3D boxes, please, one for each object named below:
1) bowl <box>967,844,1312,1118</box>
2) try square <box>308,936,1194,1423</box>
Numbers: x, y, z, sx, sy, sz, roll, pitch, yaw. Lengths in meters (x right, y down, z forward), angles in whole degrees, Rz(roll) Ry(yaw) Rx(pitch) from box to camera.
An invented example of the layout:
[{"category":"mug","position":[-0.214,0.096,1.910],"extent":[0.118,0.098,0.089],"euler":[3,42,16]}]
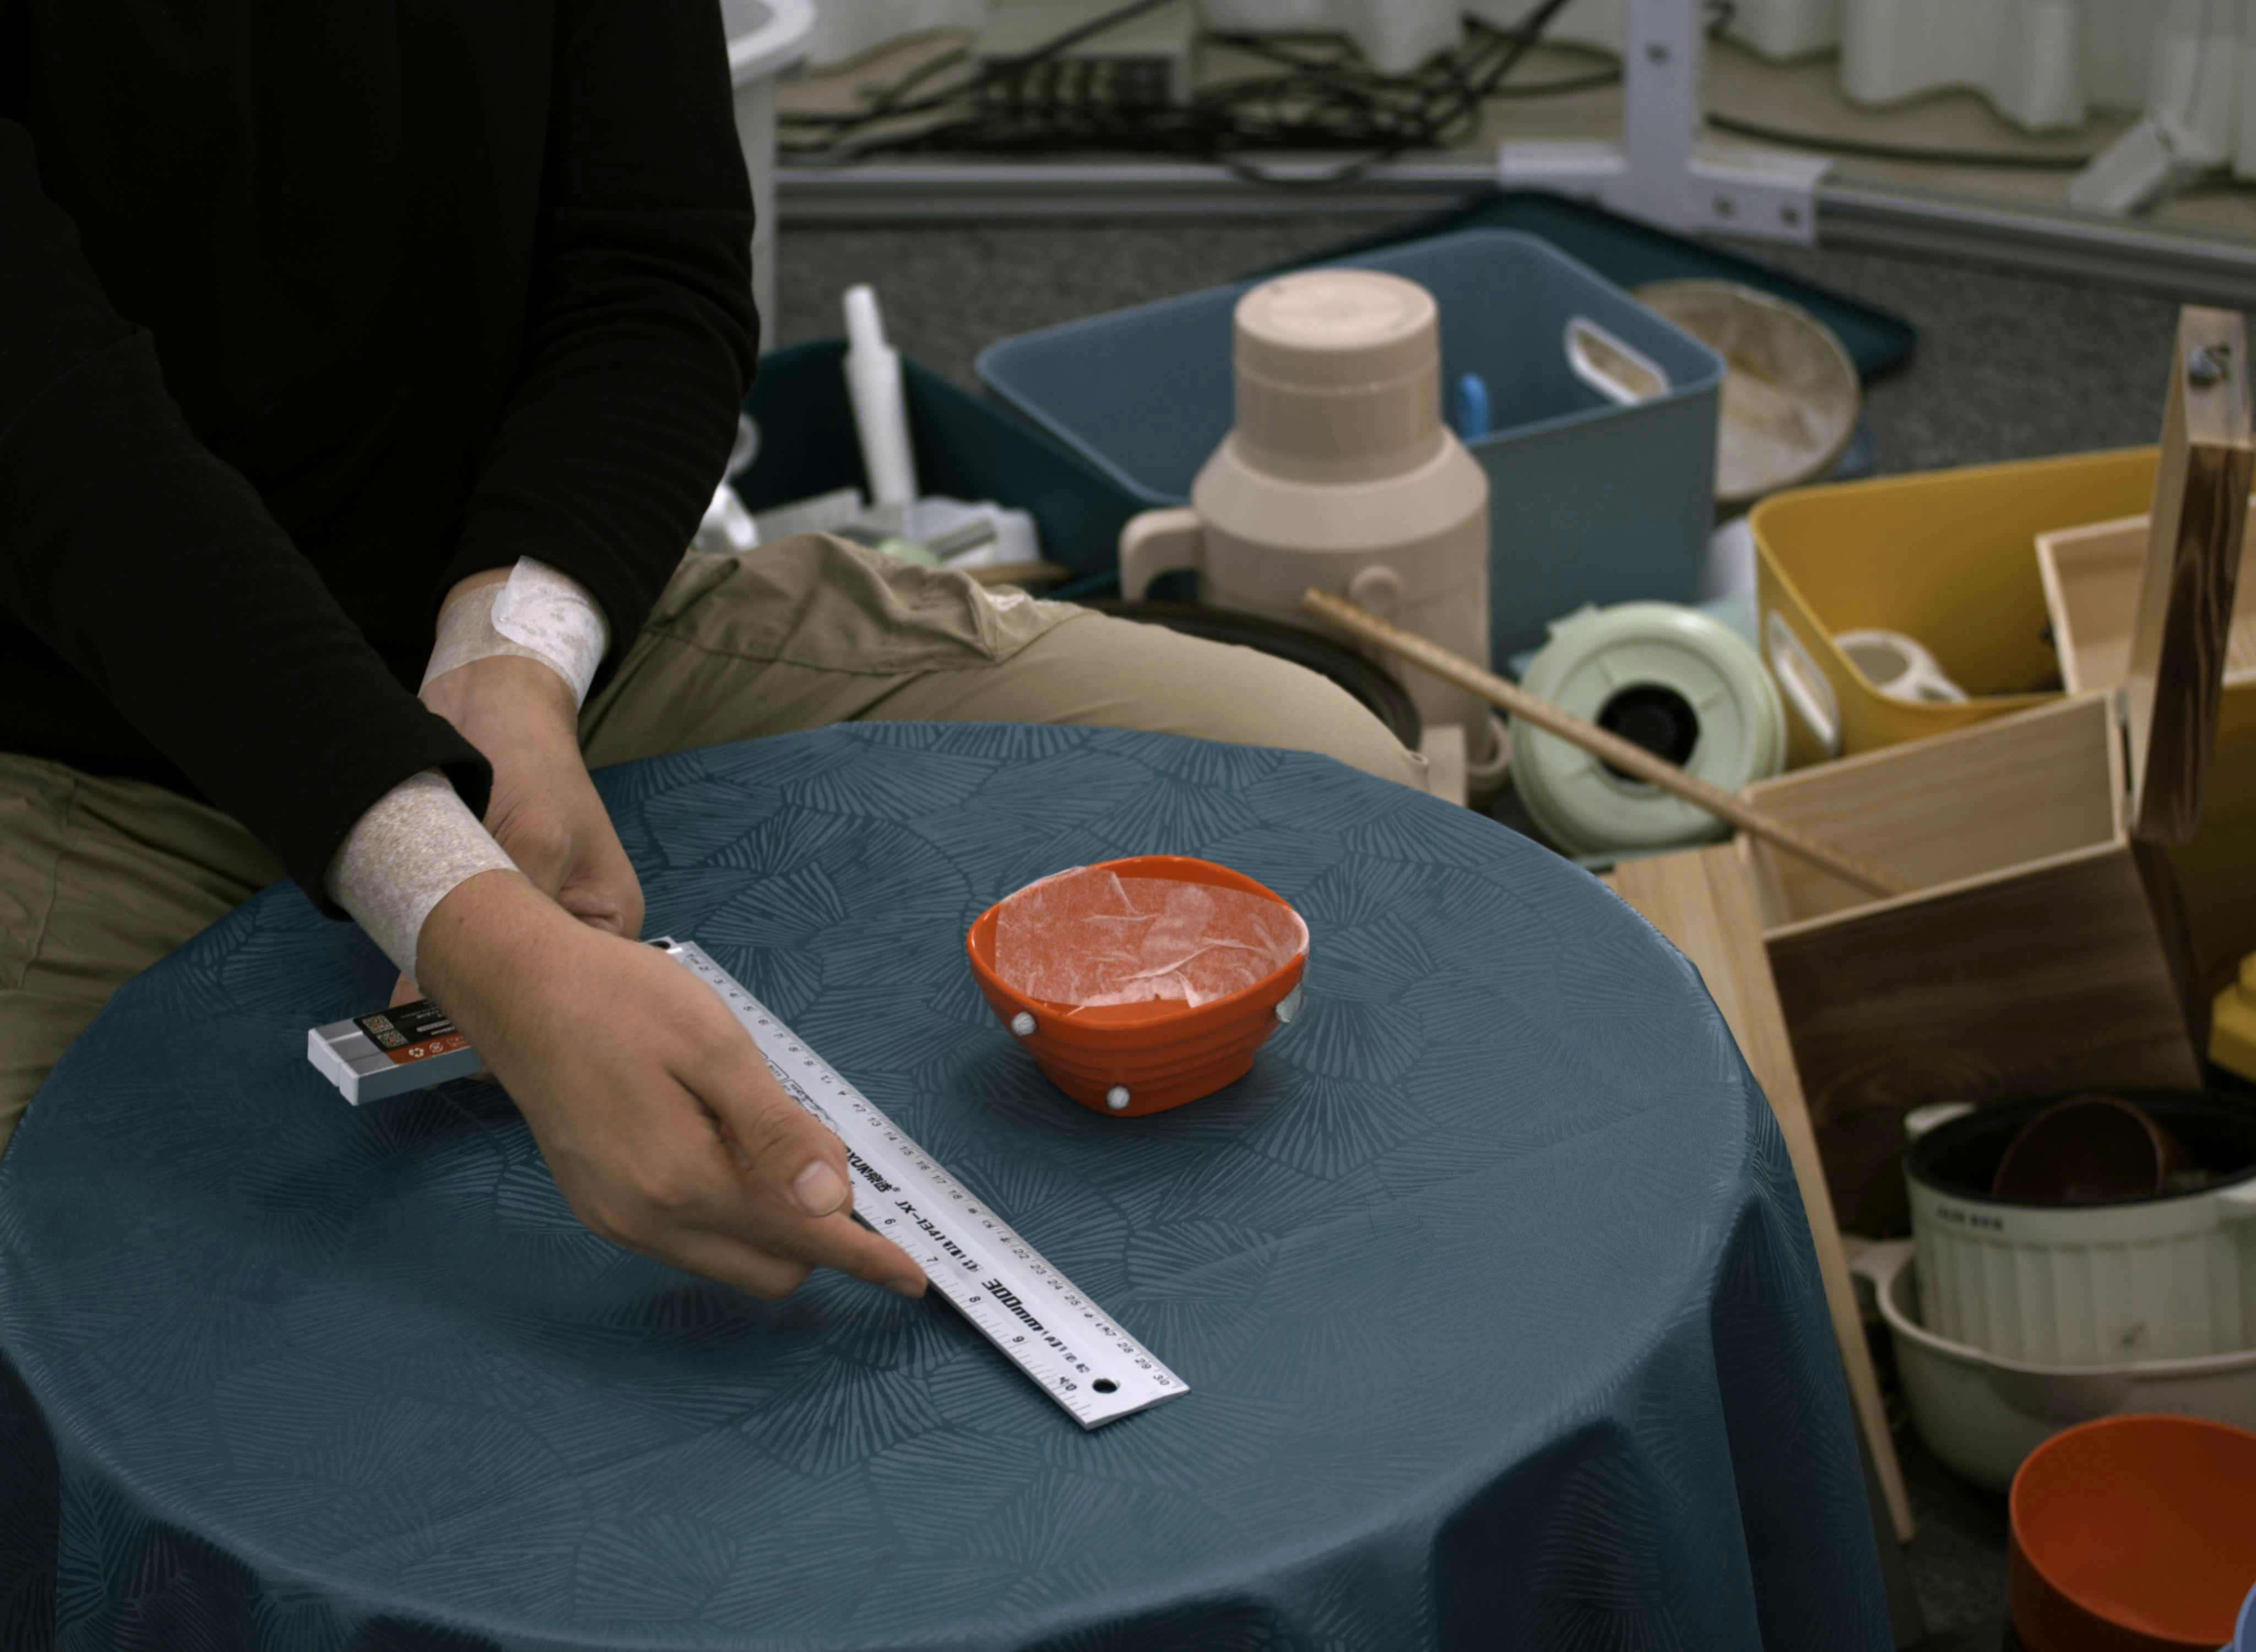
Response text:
[{"category":"bowl","position":[0.005,0.057,1.925],"extent":[0.118,0.051,0.121],"euler":[-2,31,1]},{"category":"try square","position":[-0.128,0.124,1.824],"extent":[0.153,0.015,0.314],"euler":[-14,34,-32]}]
